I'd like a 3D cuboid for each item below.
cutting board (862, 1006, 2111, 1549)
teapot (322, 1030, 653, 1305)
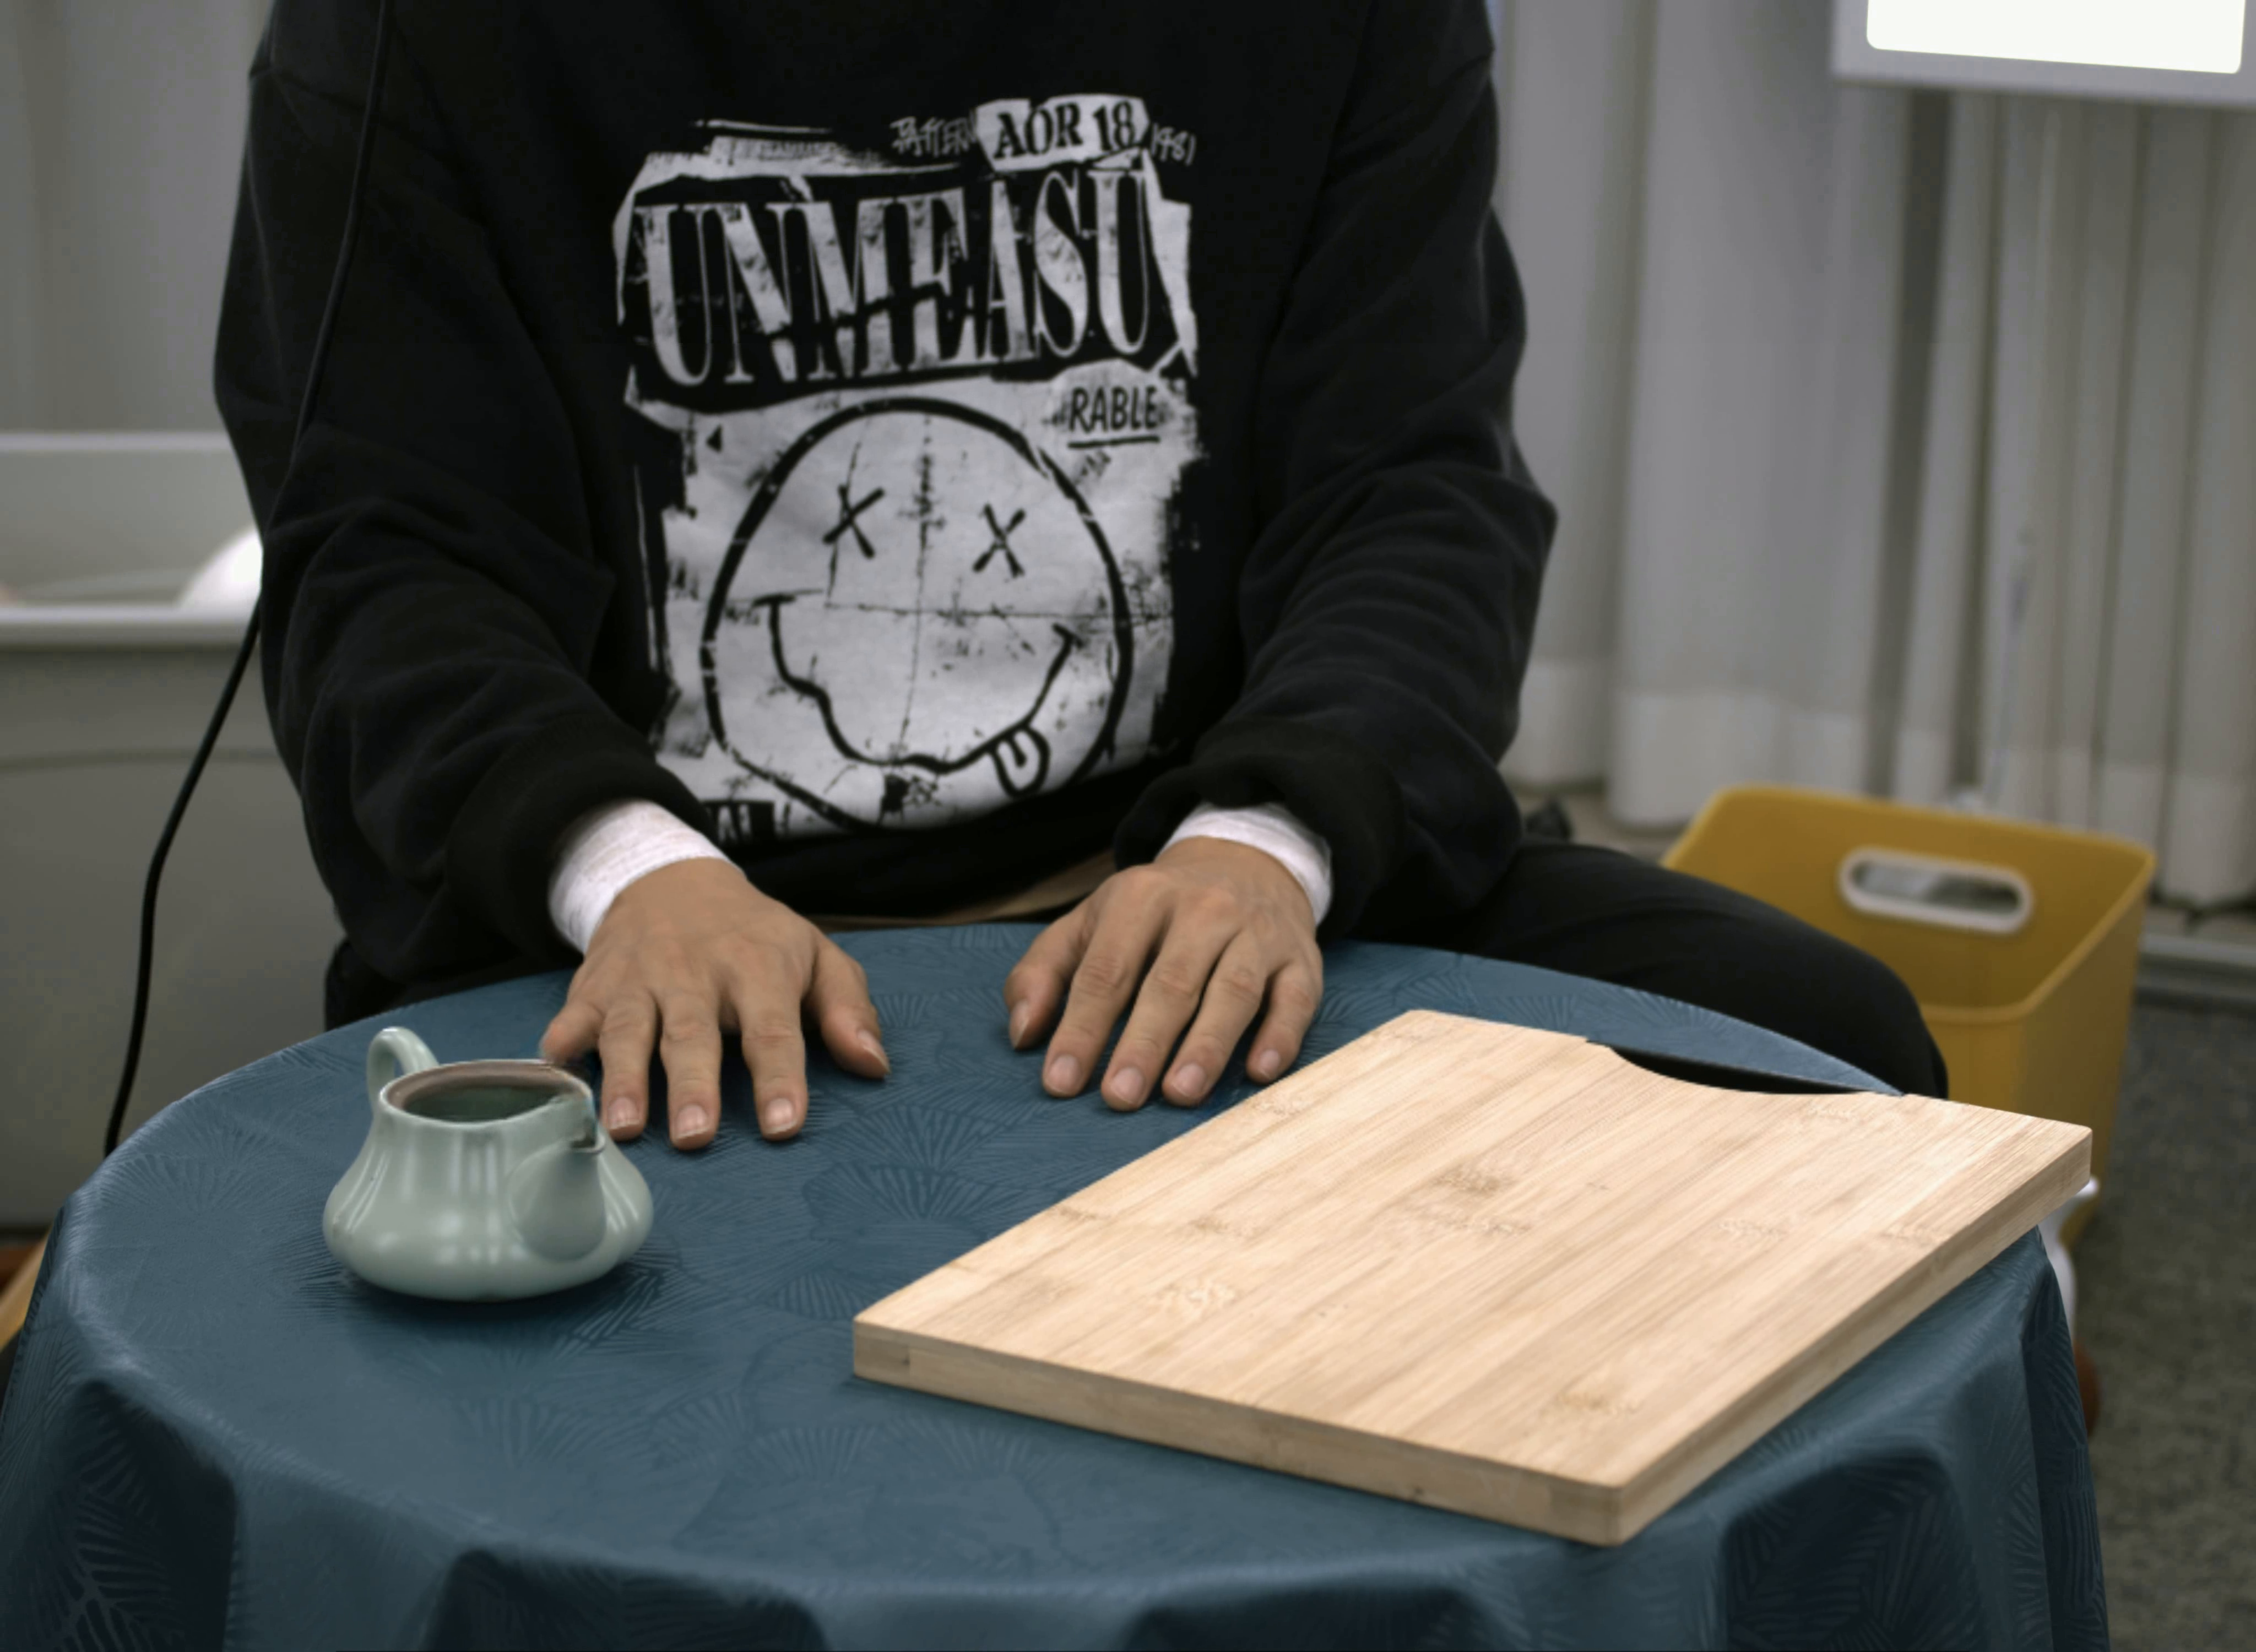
[{"bbox_3d":[0.114,0.123,1.557,0.248,0.024,0.350,9,18,28],"label":"cutting board"},{"bbox_3d":[-0.190,0.102,1.543,0.096,0.062,0.135,-13,21,-36],"label":"teapot"}]
